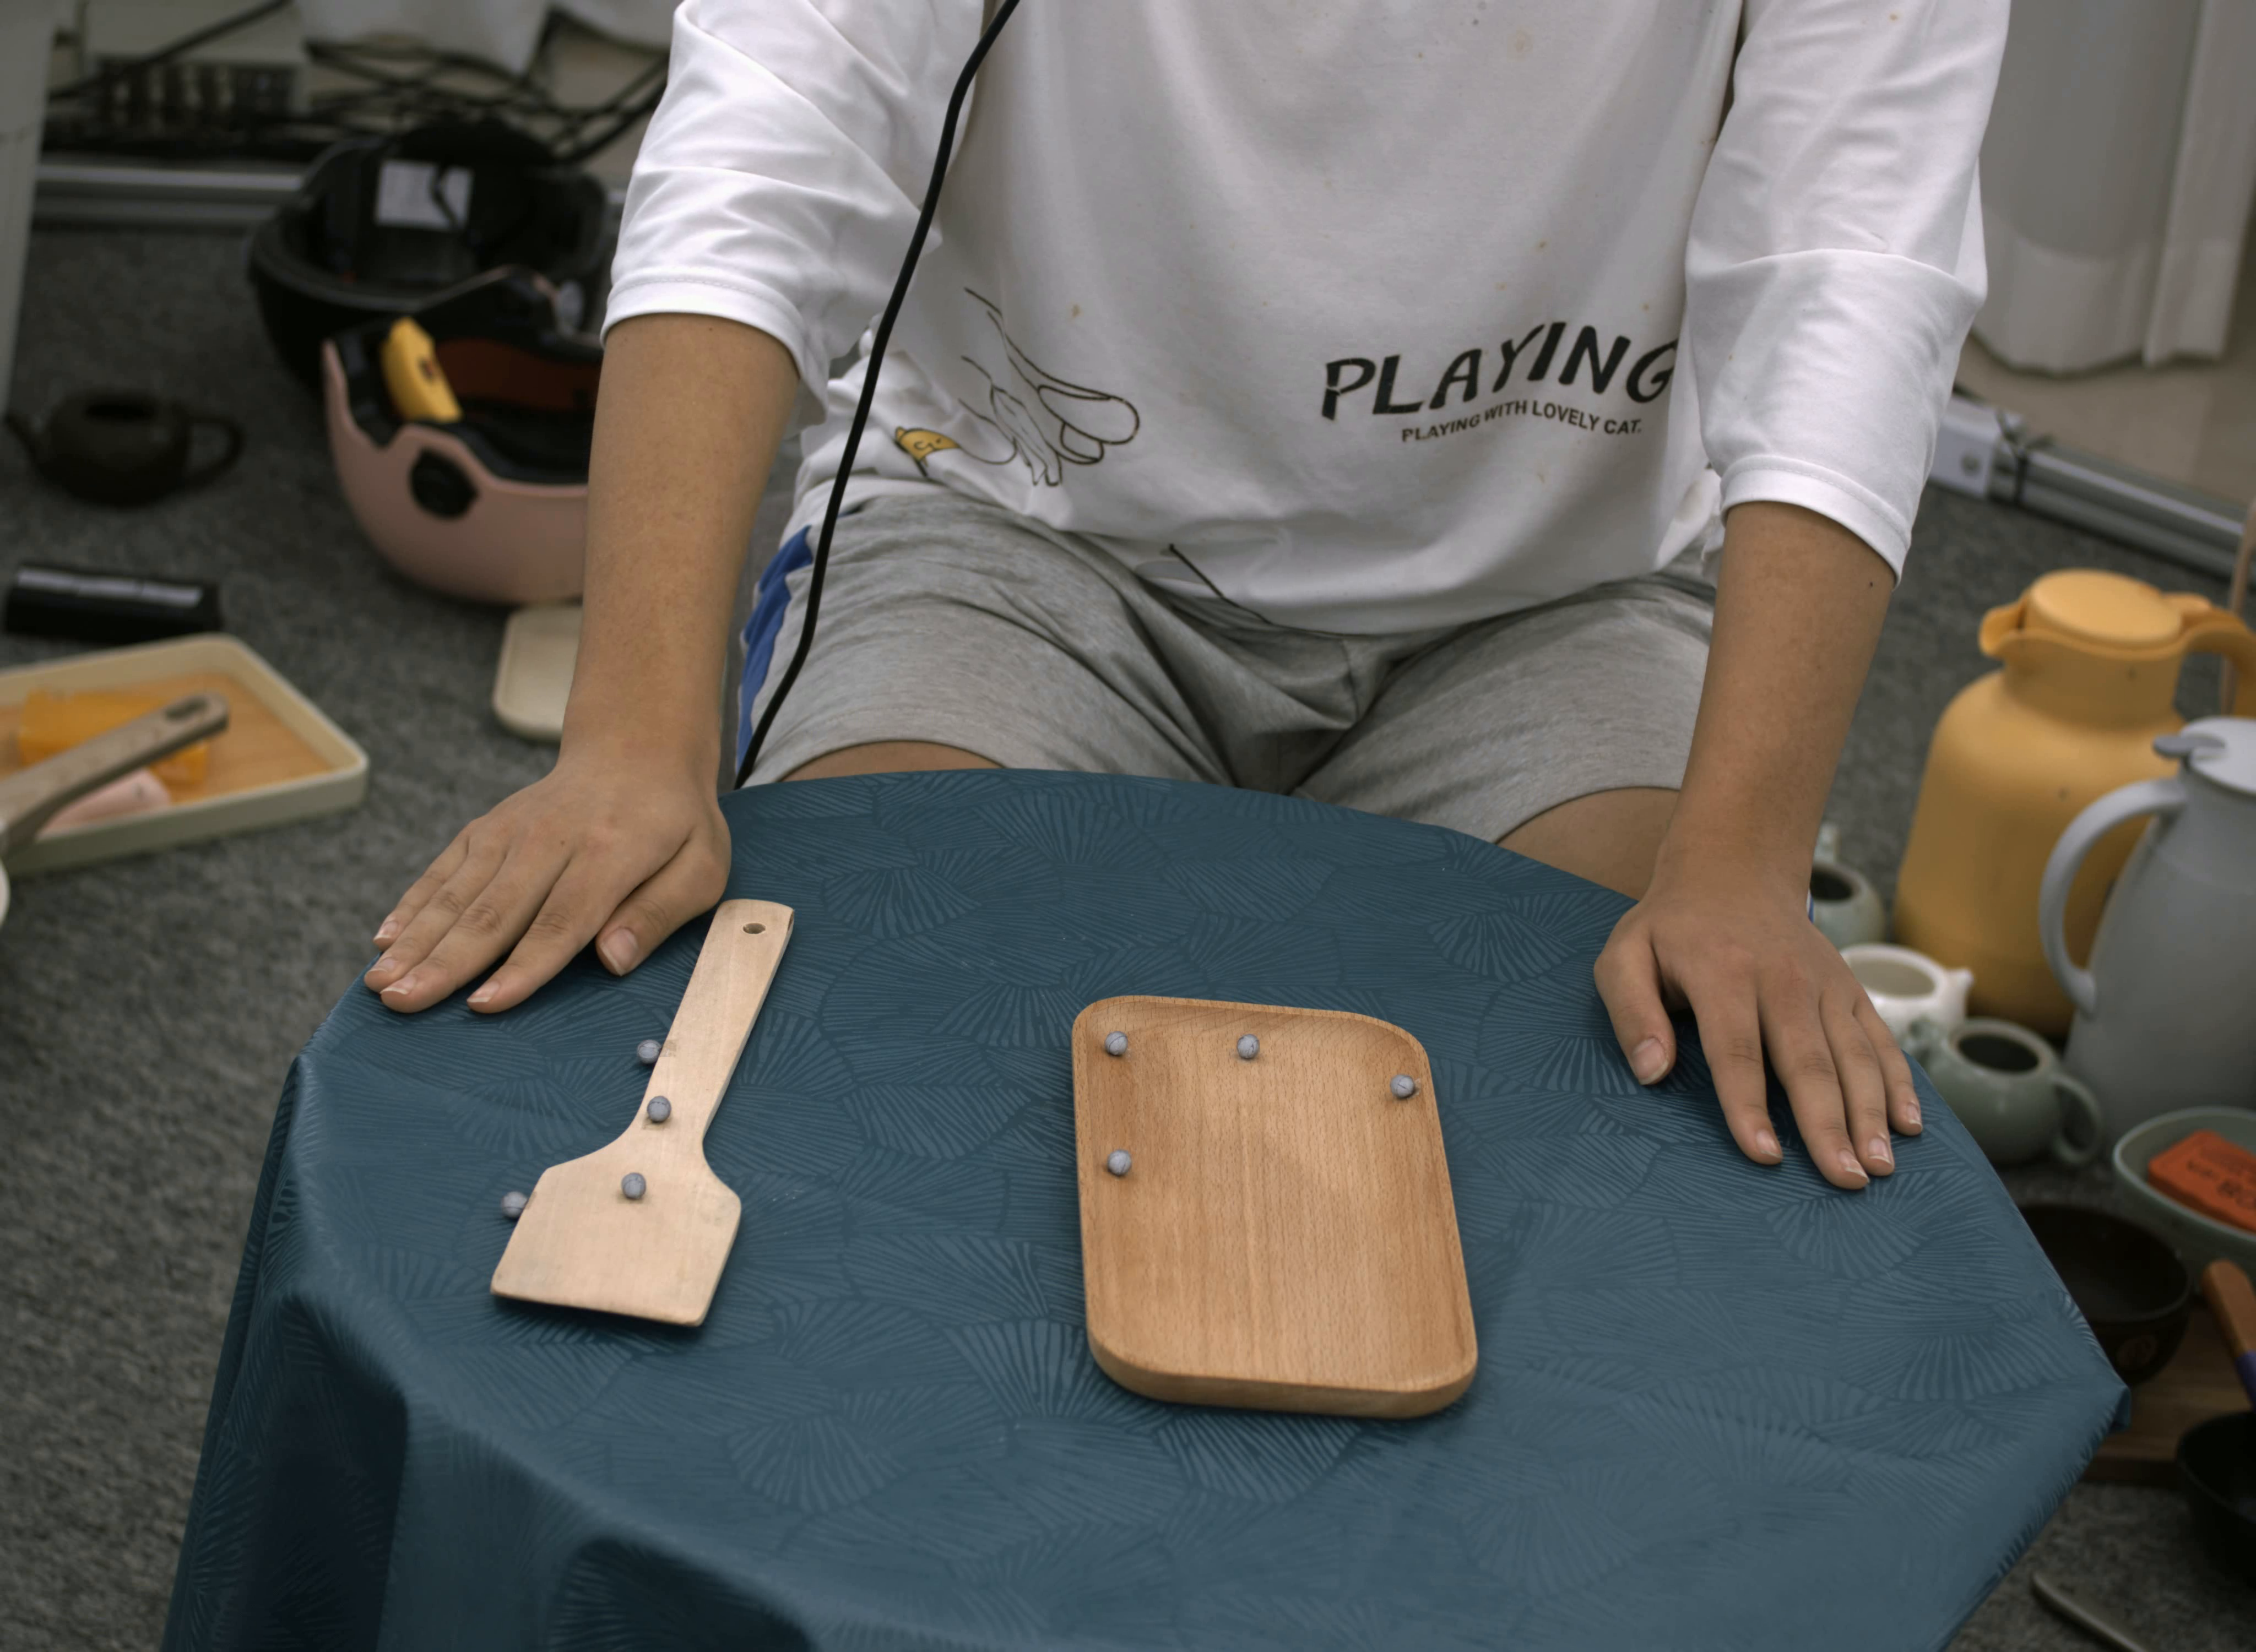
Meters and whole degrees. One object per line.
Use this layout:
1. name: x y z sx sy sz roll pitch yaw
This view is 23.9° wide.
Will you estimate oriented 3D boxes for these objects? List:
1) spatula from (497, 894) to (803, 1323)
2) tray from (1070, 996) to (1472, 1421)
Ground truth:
1. spatula: -0.151 0.091 1.824 0.072 0.010 0.294 8 27 4
2. tray: 0.045 0.126 1.794 0.130 0.023 0.252 3 27 -2
